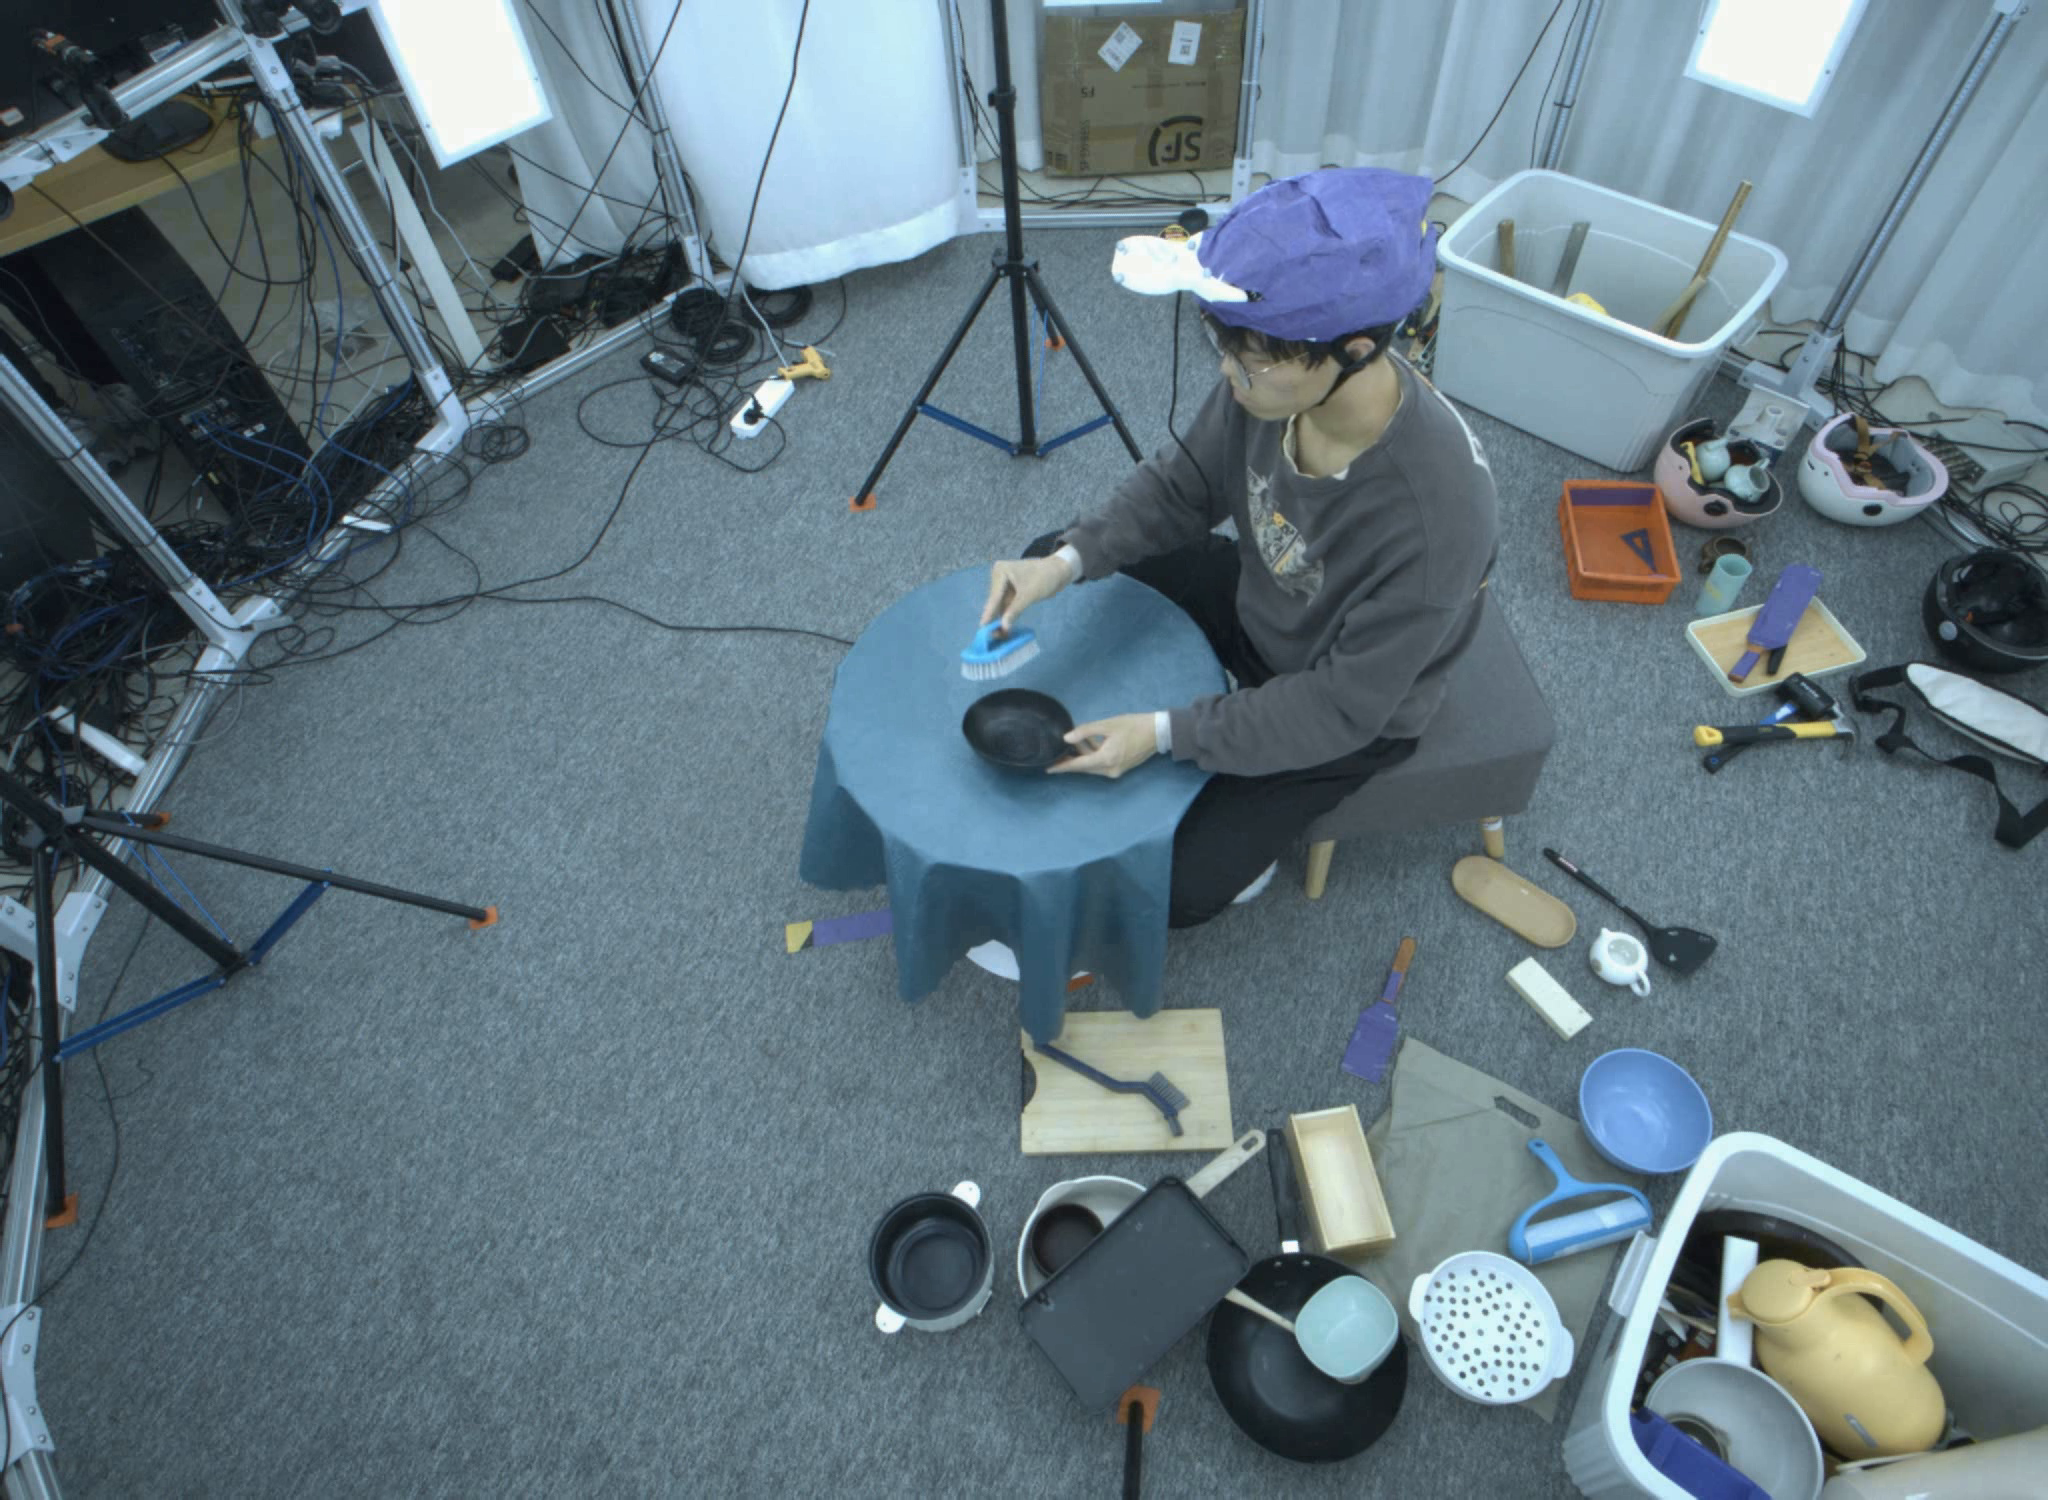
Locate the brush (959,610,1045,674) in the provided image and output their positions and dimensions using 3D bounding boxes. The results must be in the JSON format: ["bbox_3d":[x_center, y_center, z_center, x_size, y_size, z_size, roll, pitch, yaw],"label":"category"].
[{"bbox_3d":[-0.036,-0.158,1.730,0.082,0.064,0.143,4,24,37],"label":"brush"}]

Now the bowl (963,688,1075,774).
[{"bbox_3d":[-0.008,-0.017,1.758,0.168,0.067,0.137,20,56,18],"label":"bowl"}]
